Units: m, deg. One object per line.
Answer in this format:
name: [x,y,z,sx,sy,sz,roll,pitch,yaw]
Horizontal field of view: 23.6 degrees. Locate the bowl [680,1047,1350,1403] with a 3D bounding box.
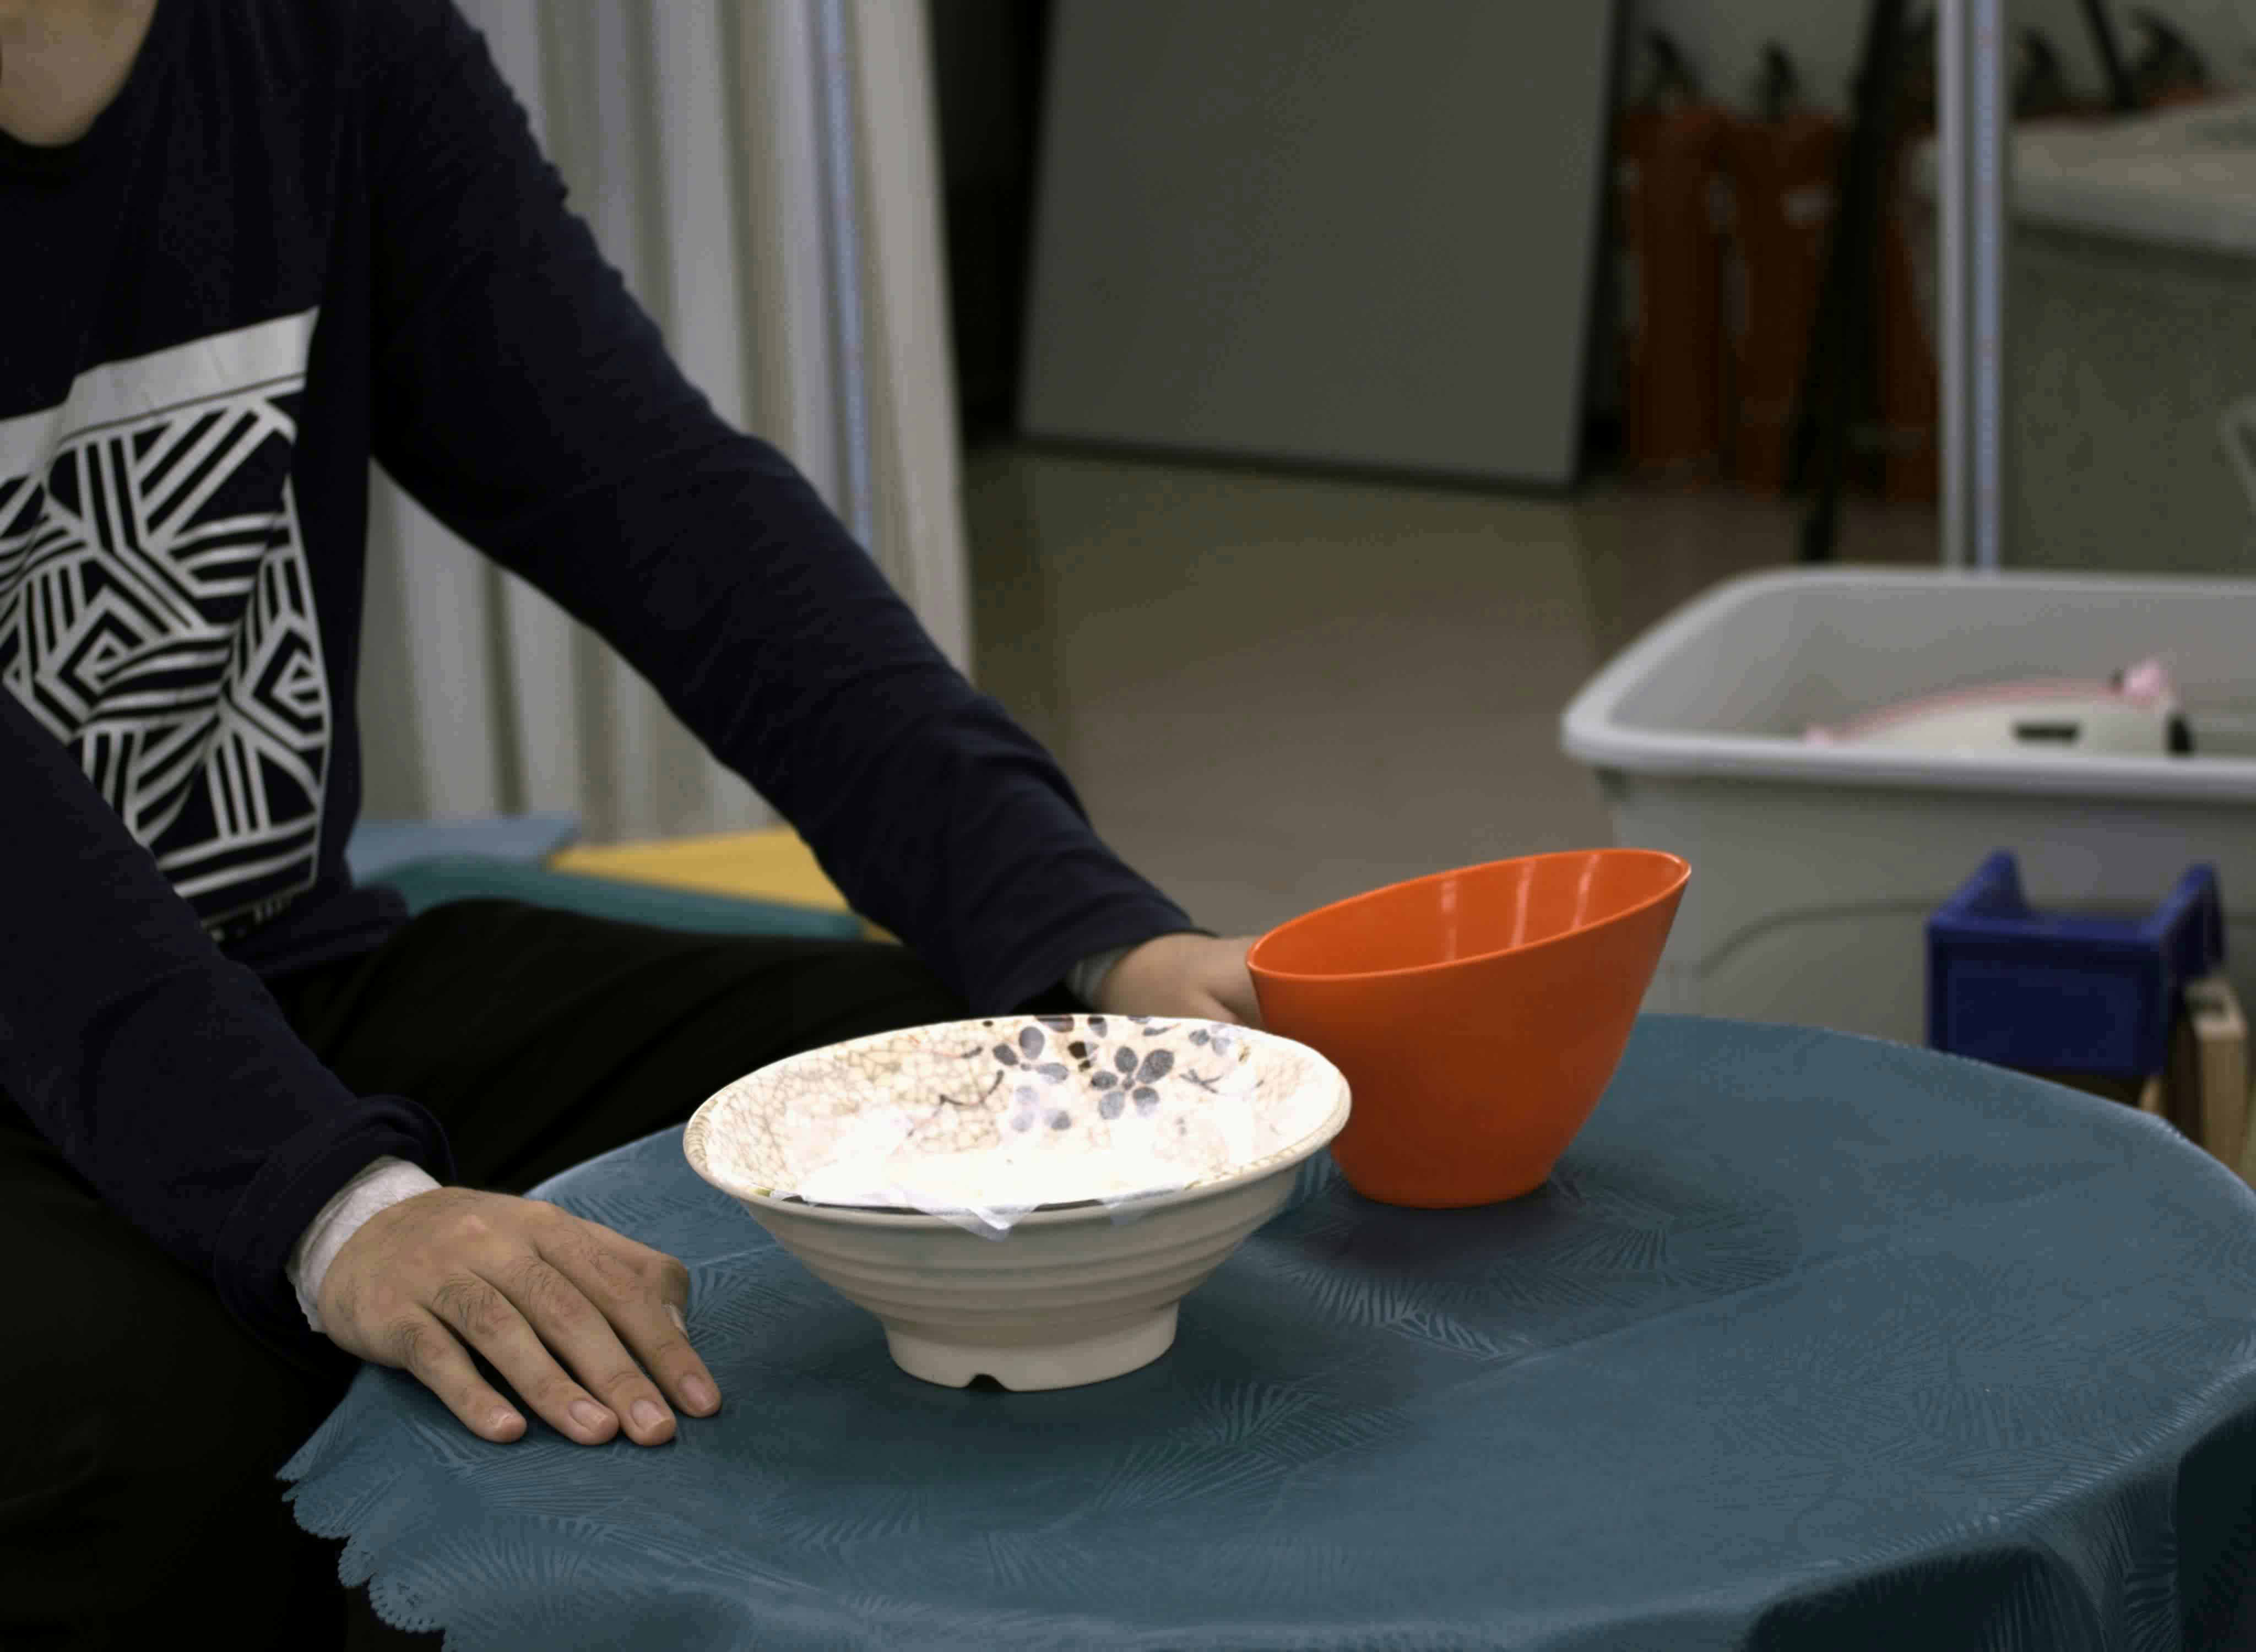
bowl: [-0.030,0.125,1.621,0.201,0.079,0.204,-6,9,0]

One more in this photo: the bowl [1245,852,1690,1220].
bowl: [0.112,0.069,1.747,0.146,0.106,0.148,-6,12,0]
